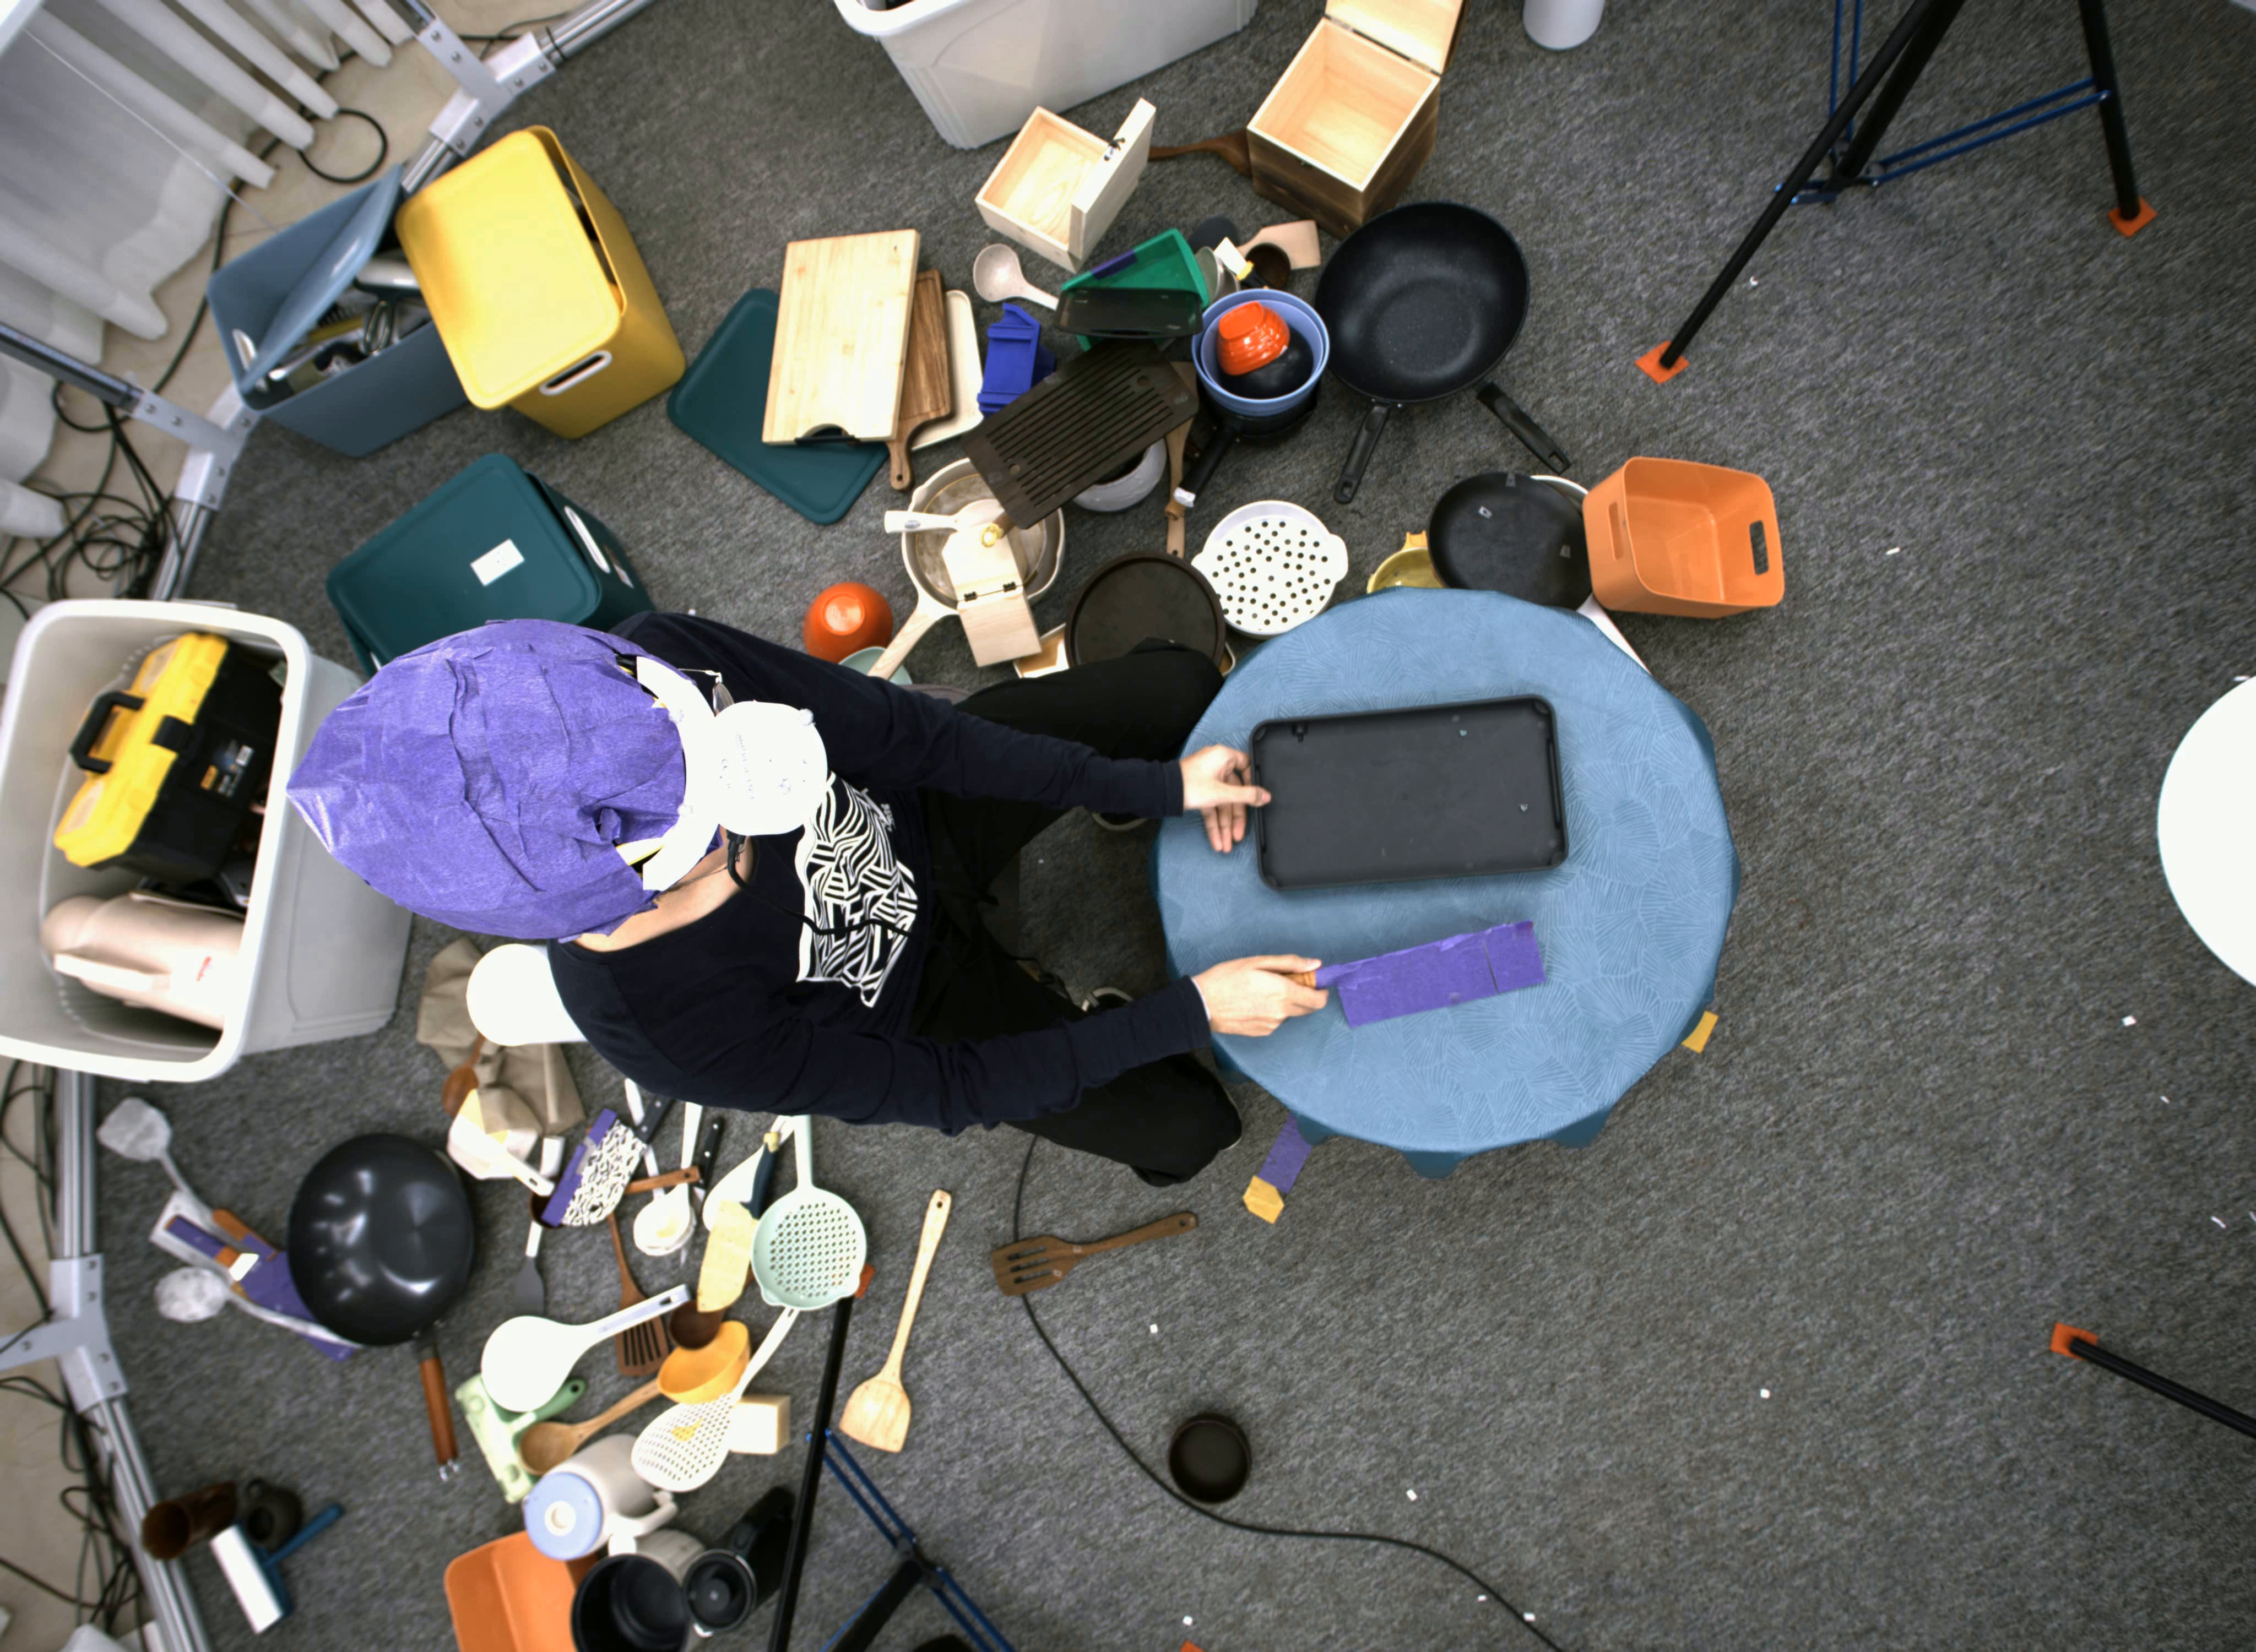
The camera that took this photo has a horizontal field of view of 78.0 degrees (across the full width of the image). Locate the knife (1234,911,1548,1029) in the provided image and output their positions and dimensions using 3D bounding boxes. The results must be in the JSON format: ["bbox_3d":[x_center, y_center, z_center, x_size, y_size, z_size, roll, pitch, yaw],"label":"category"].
[{"bbox_3d":[0.271,0.164,1.418,0.317,0.031,0.106,-15,122,13],"label":"knife"}]

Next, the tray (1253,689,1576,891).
[{"bbox_3d":[0.297,-0.037,1.444,0.319,0.037,0.183,-6,86,12],"label":"tray"}]
